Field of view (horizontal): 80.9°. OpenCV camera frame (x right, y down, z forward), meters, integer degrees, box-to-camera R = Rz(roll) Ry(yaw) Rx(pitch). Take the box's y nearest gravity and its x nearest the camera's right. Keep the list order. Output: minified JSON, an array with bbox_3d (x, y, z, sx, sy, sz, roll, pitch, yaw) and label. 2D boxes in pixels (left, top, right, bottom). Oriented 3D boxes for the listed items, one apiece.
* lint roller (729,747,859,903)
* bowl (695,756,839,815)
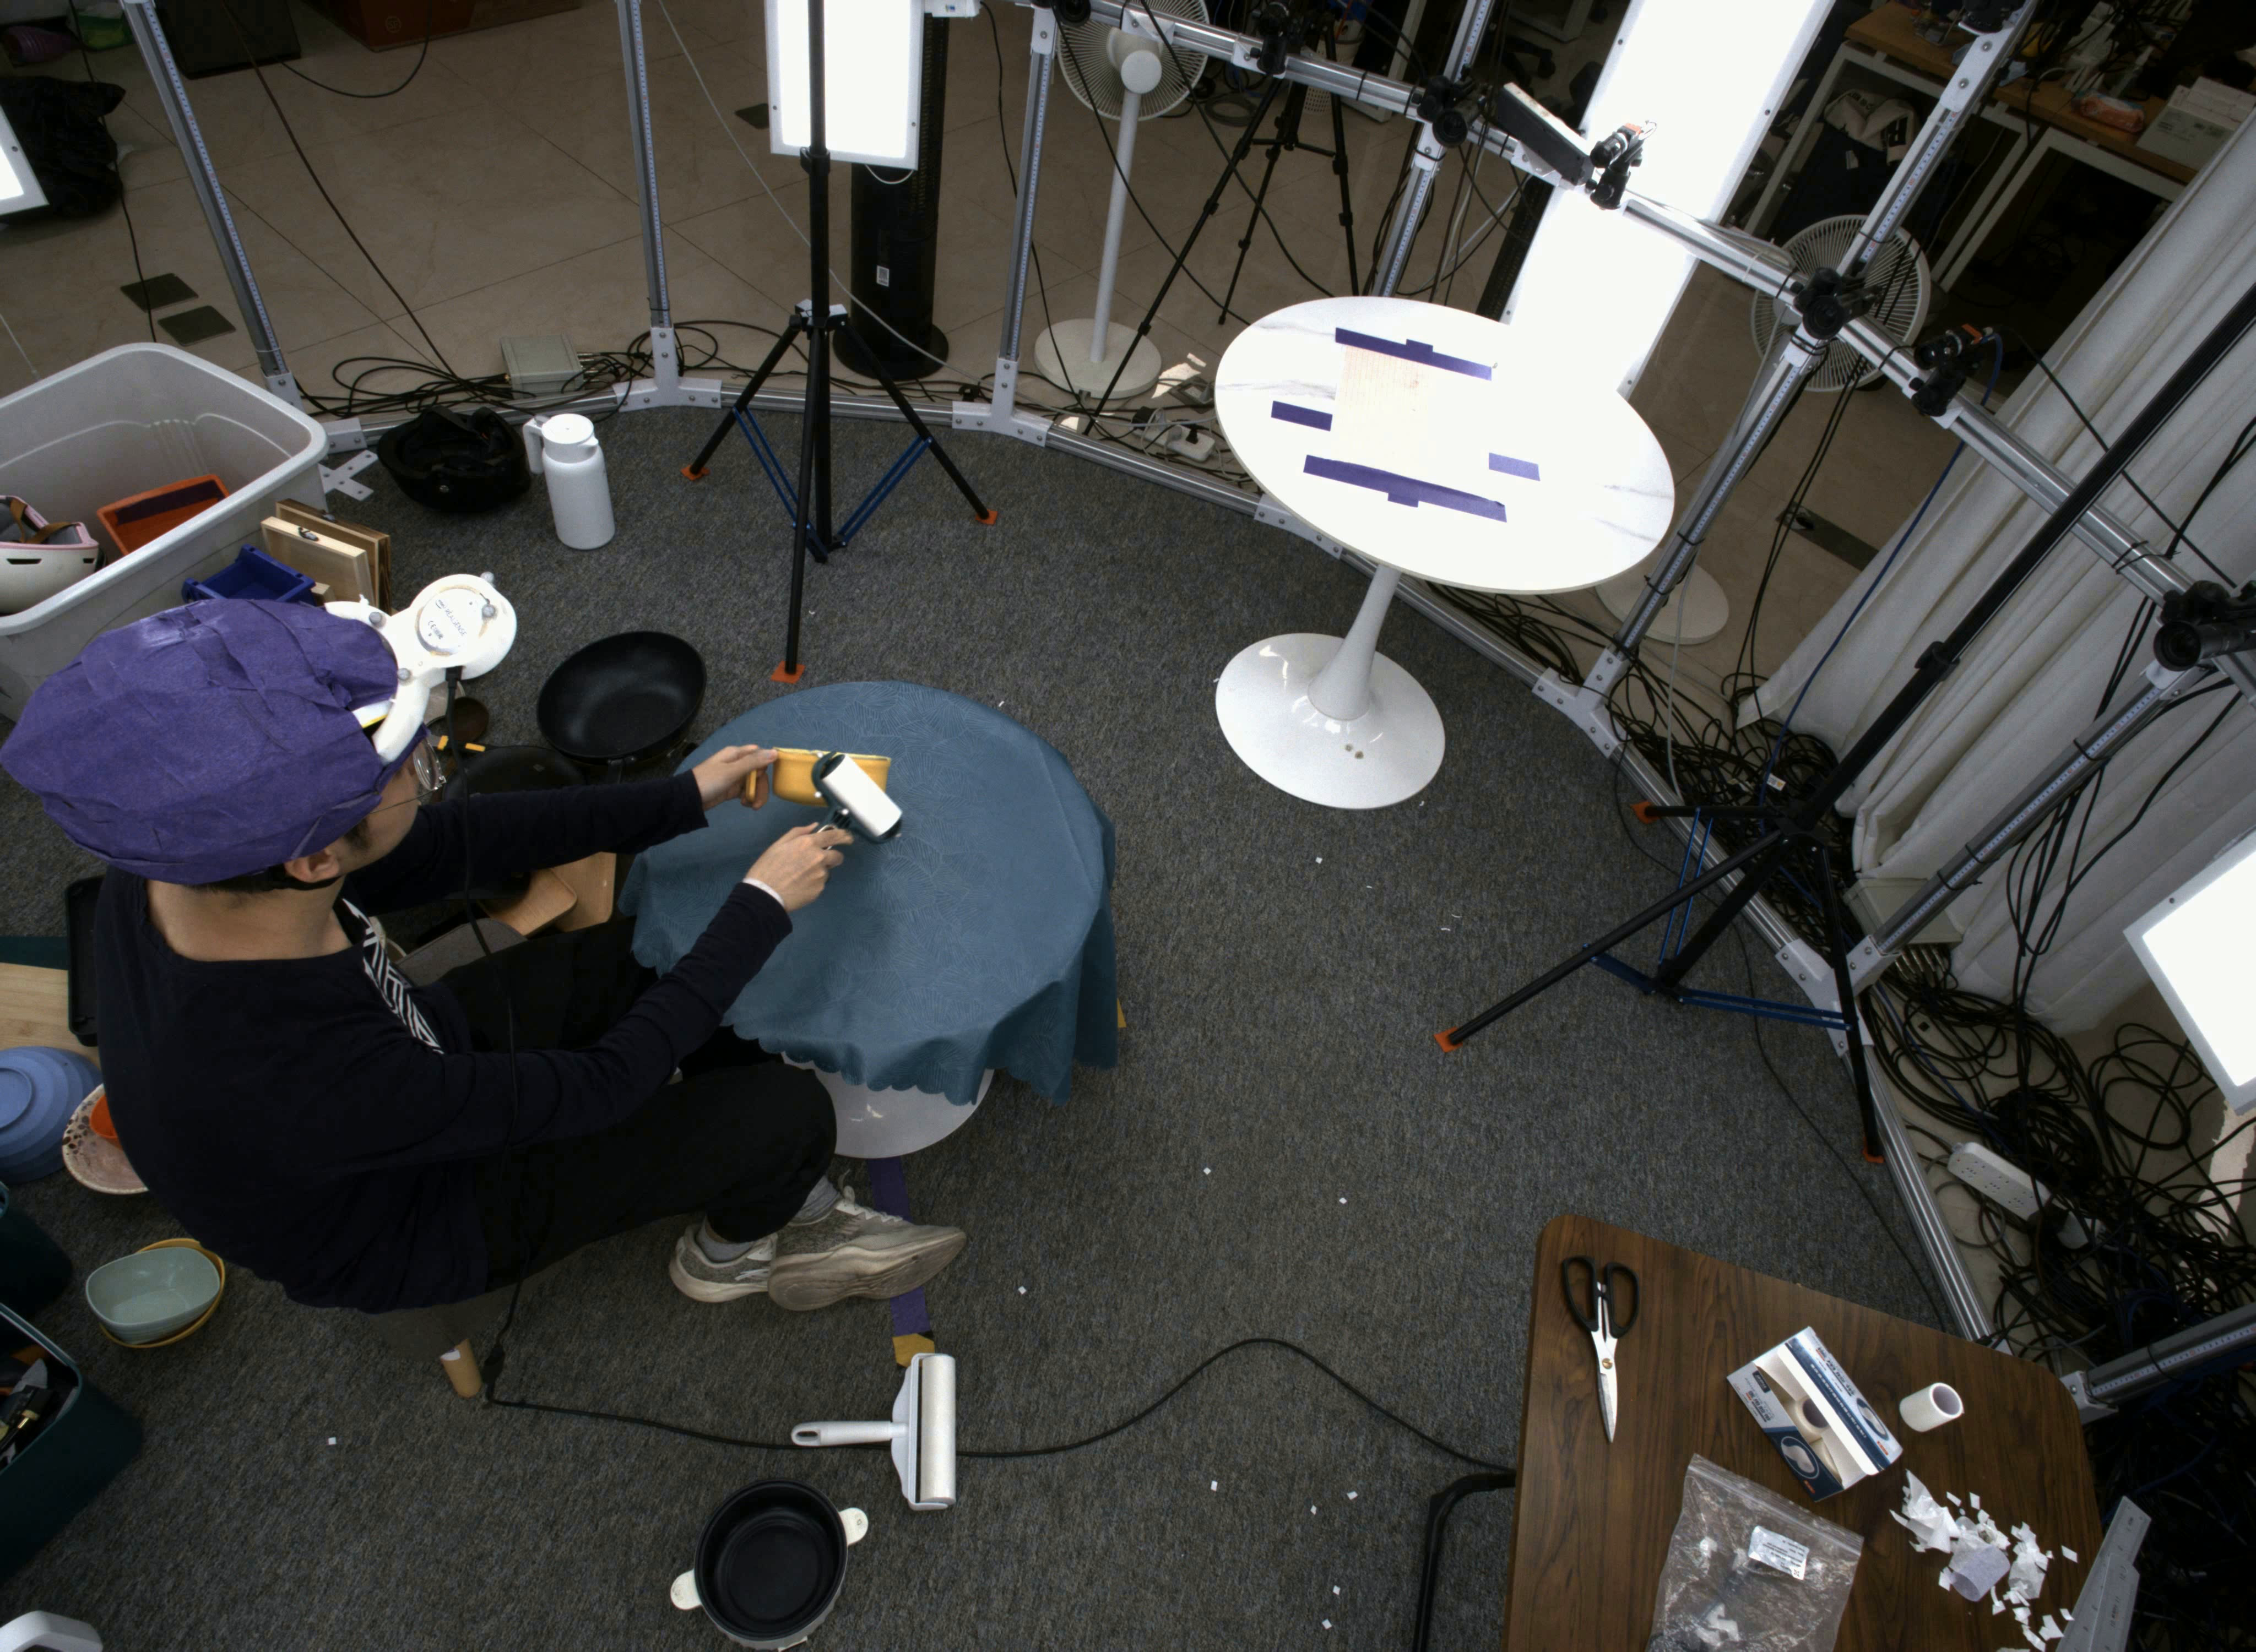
[{"bbox_3d":[-0.410,0.014,1.533,0.138,0.047,0.179,46,53,-24],"label":"lint roller"},{"bbox_3d":[-0.457,-0.052,1.637,0.182,0.148,0.075,0,96,-36],"label":"bowl"}]
